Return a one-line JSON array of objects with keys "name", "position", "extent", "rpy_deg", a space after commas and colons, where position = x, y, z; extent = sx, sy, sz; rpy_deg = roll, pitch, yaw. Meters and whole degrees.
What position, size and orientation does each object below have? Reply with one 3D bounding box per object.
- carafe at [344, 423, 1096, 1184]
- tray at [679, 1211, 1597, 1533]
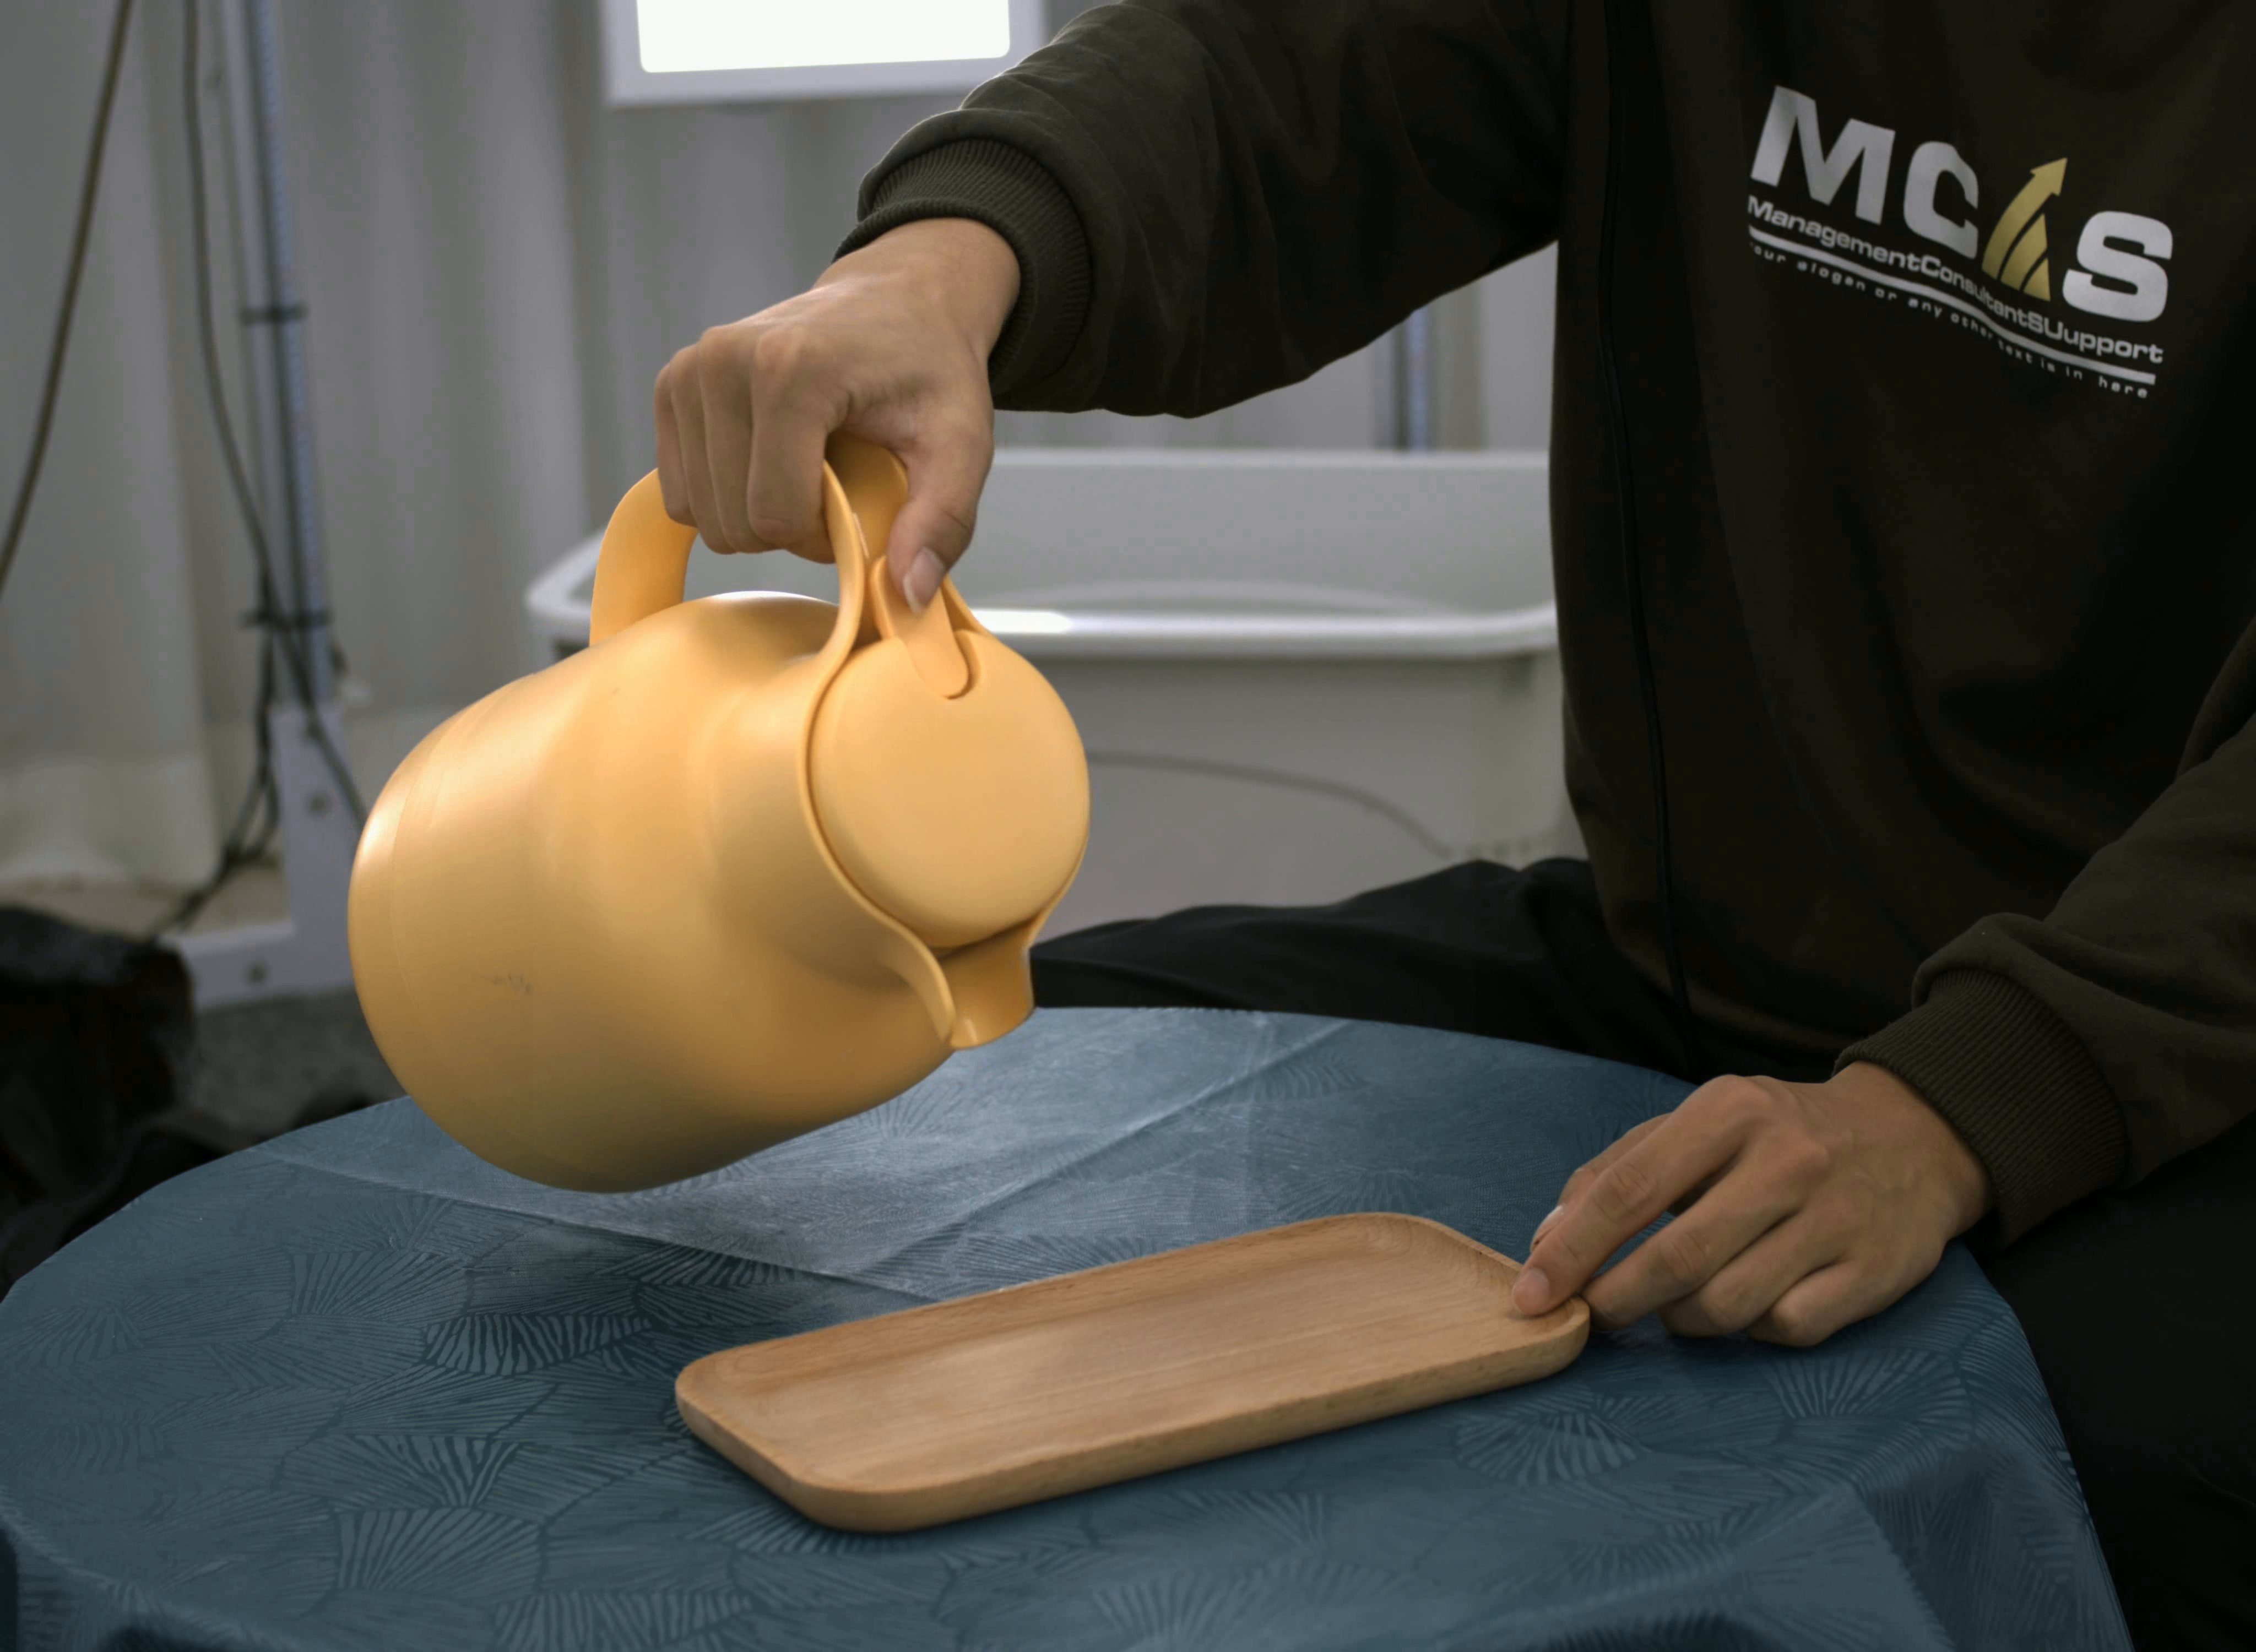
[{"name": "carafe", "position": [-0.116, -0.007, 1.632], "extent": [0.162, 0.204, 0.260], "rpy_deg": [-3, -10, -37]}, {"name": "tray", "position": [0.004, 0.153, 1.544], "extent": [0.249, 0.023, 0.131], "rpy_deg": [-9, 19, -26]}]
